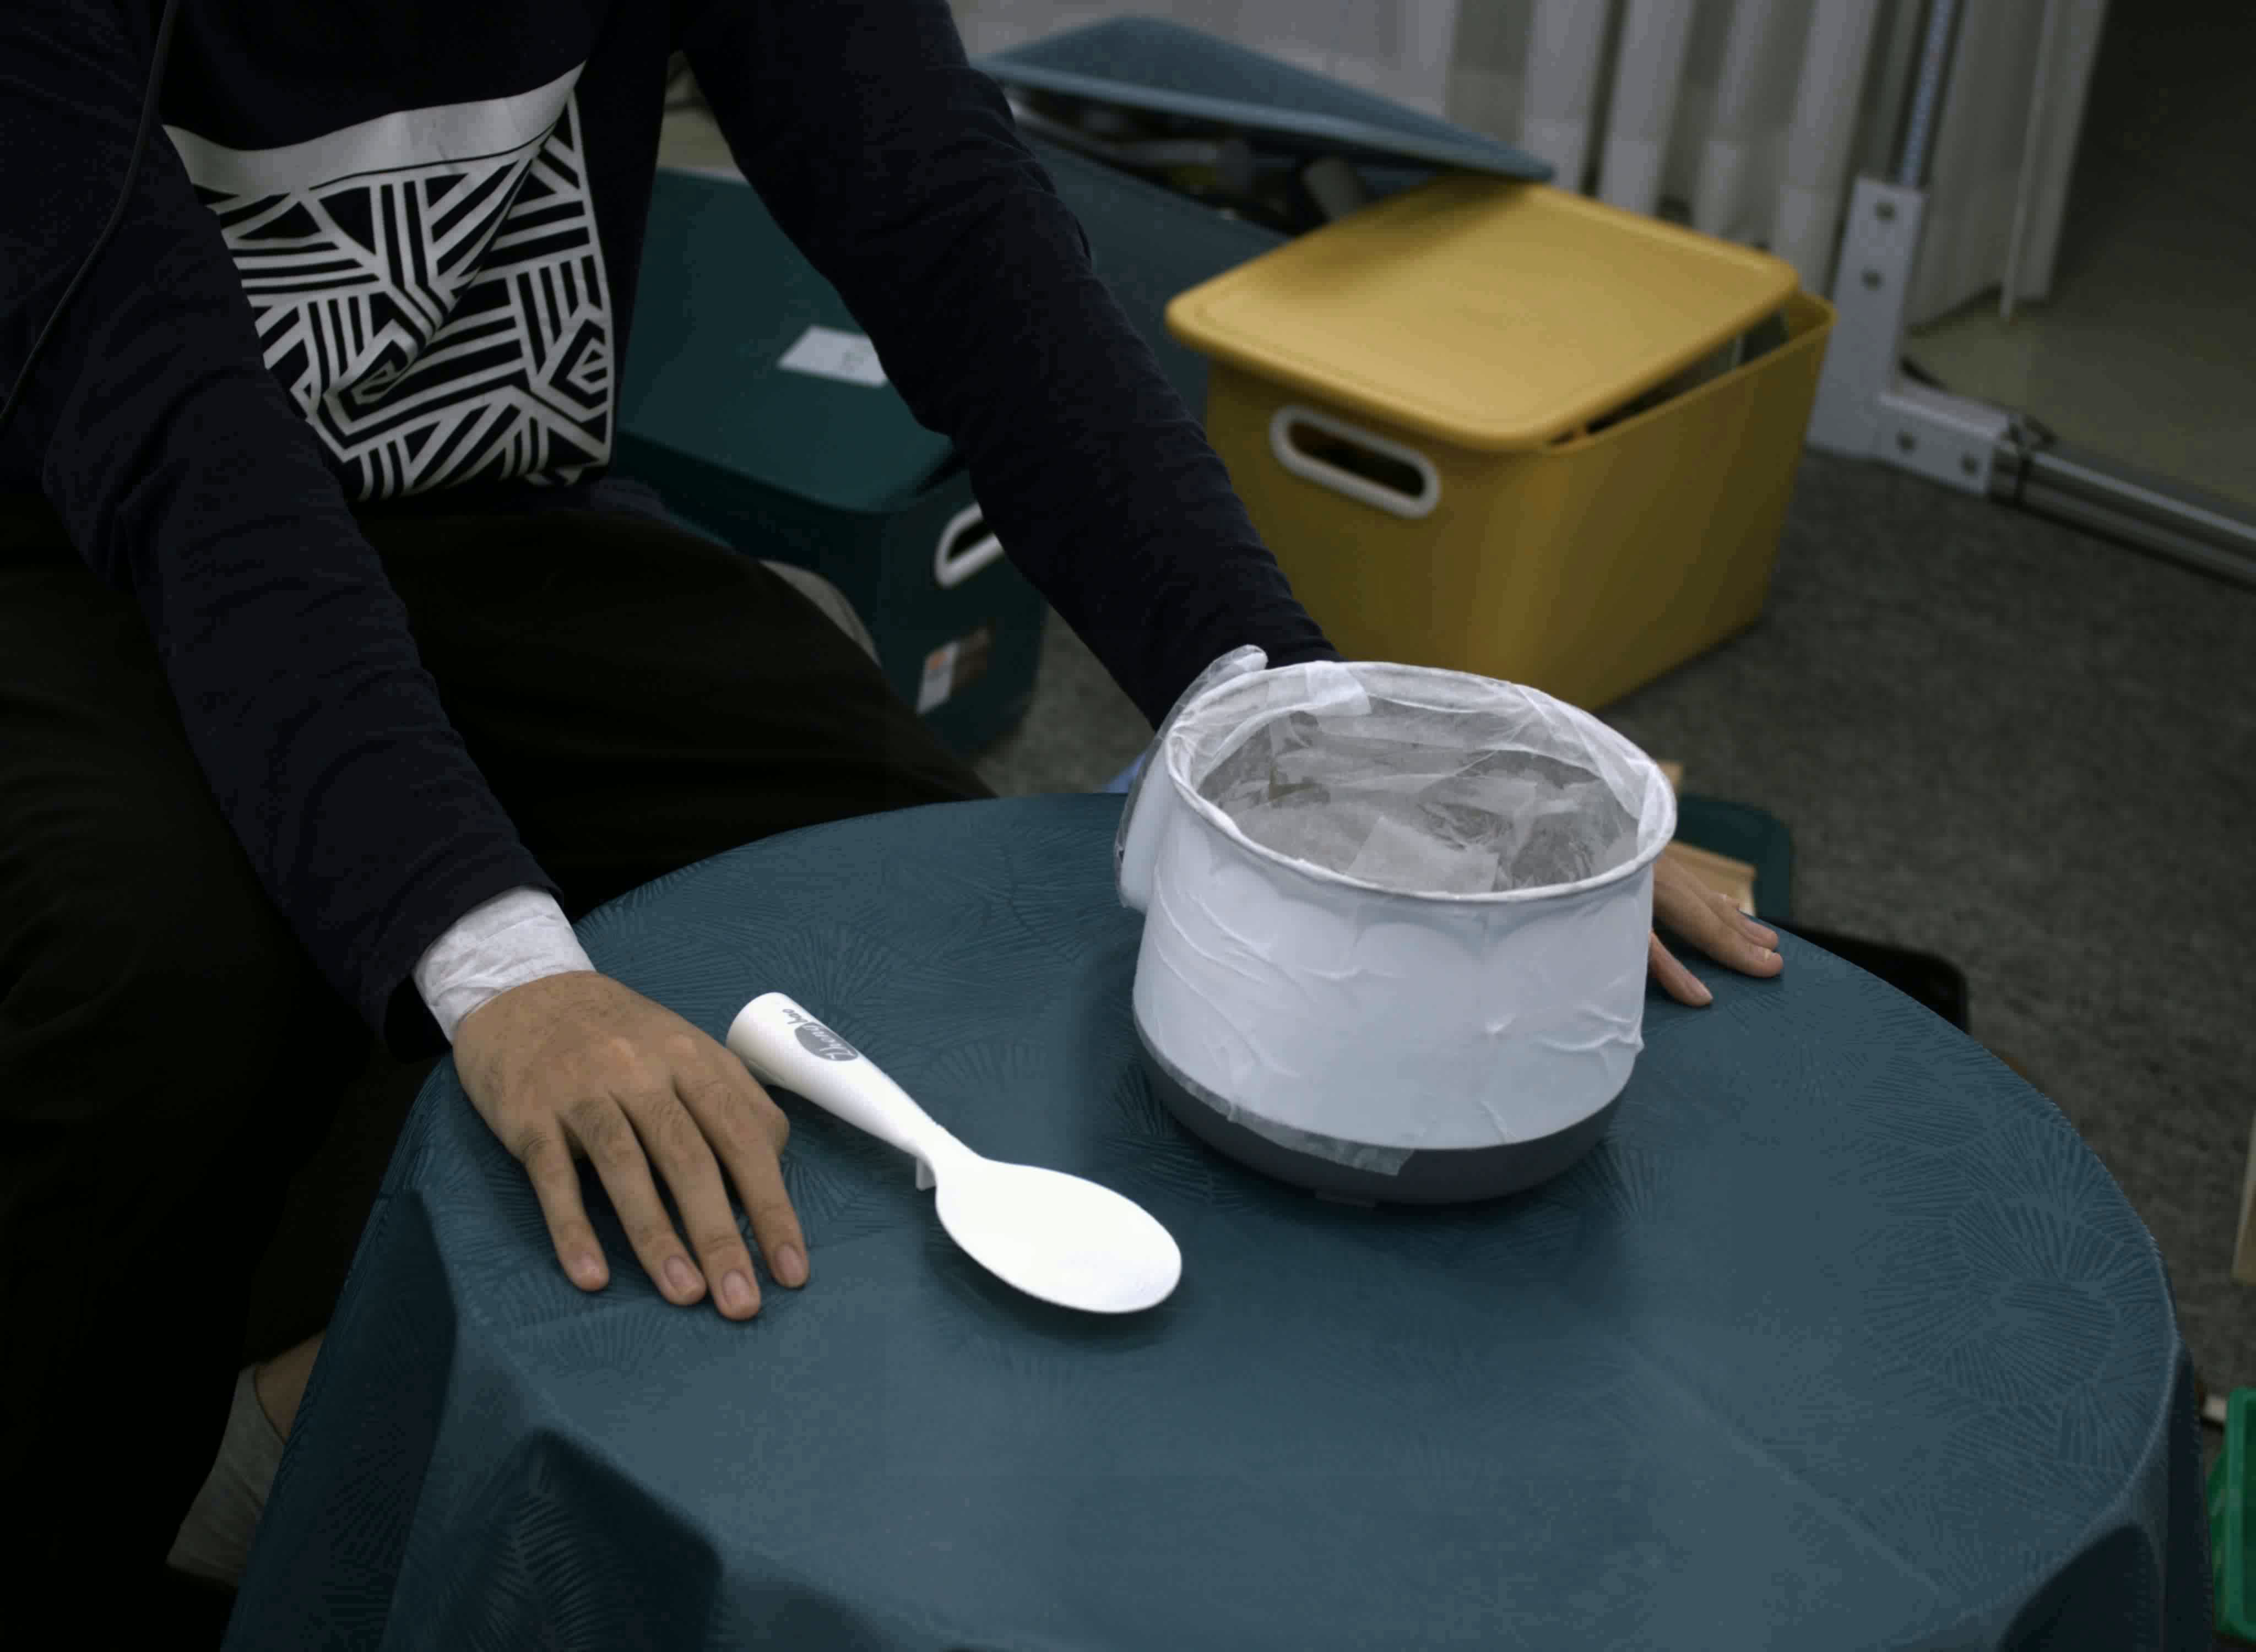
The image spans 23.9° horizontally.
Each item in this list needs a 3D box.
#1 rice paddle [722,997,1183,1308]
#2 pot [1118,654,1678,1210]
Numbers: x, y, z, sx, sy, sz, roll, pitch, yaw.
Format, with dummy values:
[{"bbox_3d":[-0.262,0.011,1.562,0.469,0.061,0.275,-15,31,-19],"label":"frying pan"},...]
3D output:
[{"bbox_3d":[-0.060,0.111,1.785,0.068,0.029,0.207,-20,36,-38],"label":"rice paddle"},{"bbox_3d":[0.077,0.030,1.865,0.177,0.136,0.236,-11,30,-35],"label":"pot"}]
